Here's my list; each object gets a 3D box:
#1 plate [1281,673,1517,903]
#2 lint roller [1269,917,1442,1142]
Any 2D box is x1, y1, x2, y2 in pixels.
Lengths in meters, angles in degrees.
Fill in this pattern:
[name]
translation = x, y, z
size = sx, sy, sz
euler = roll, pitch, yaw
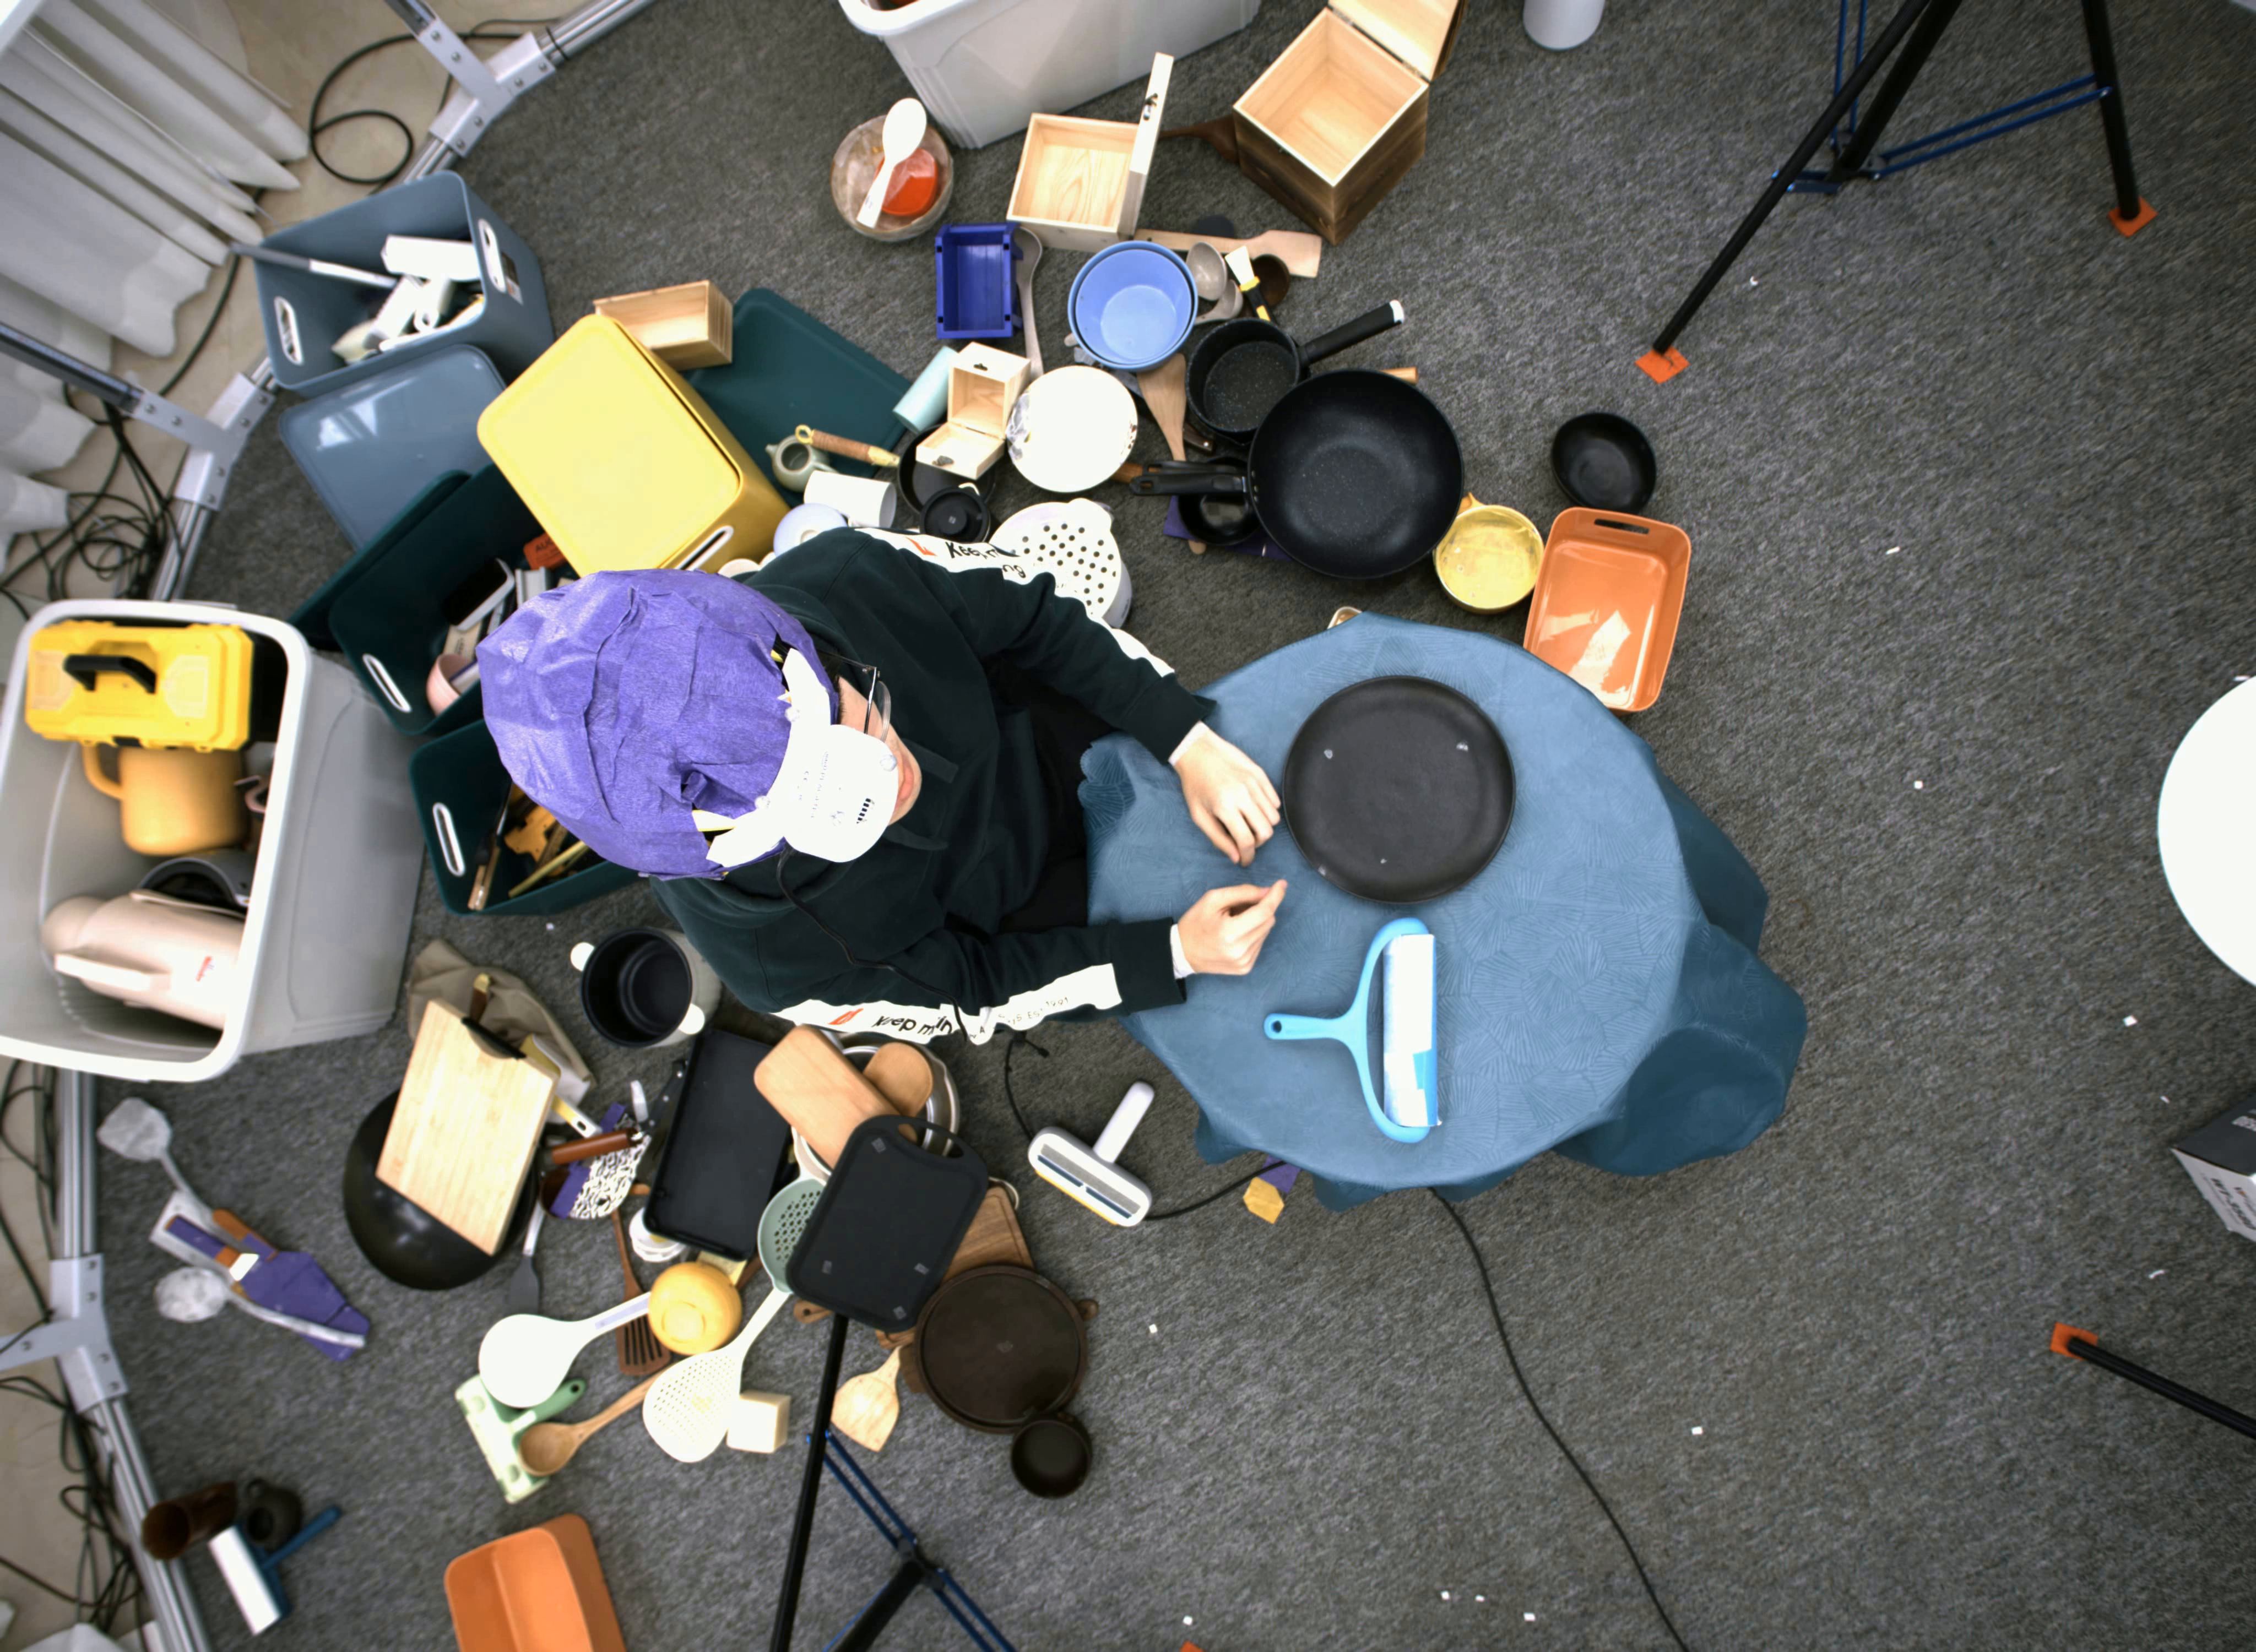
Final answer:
[plate]
translation = 0.283, -0.041, 1.447
size = 0.245, 0.023, 0.243
euler = -1, 87, 11
[lint roller]
translation = 0.233, 0.210, 1.427
size = 0.181, 0.068, 0.228
euler = -4, 87, 11
